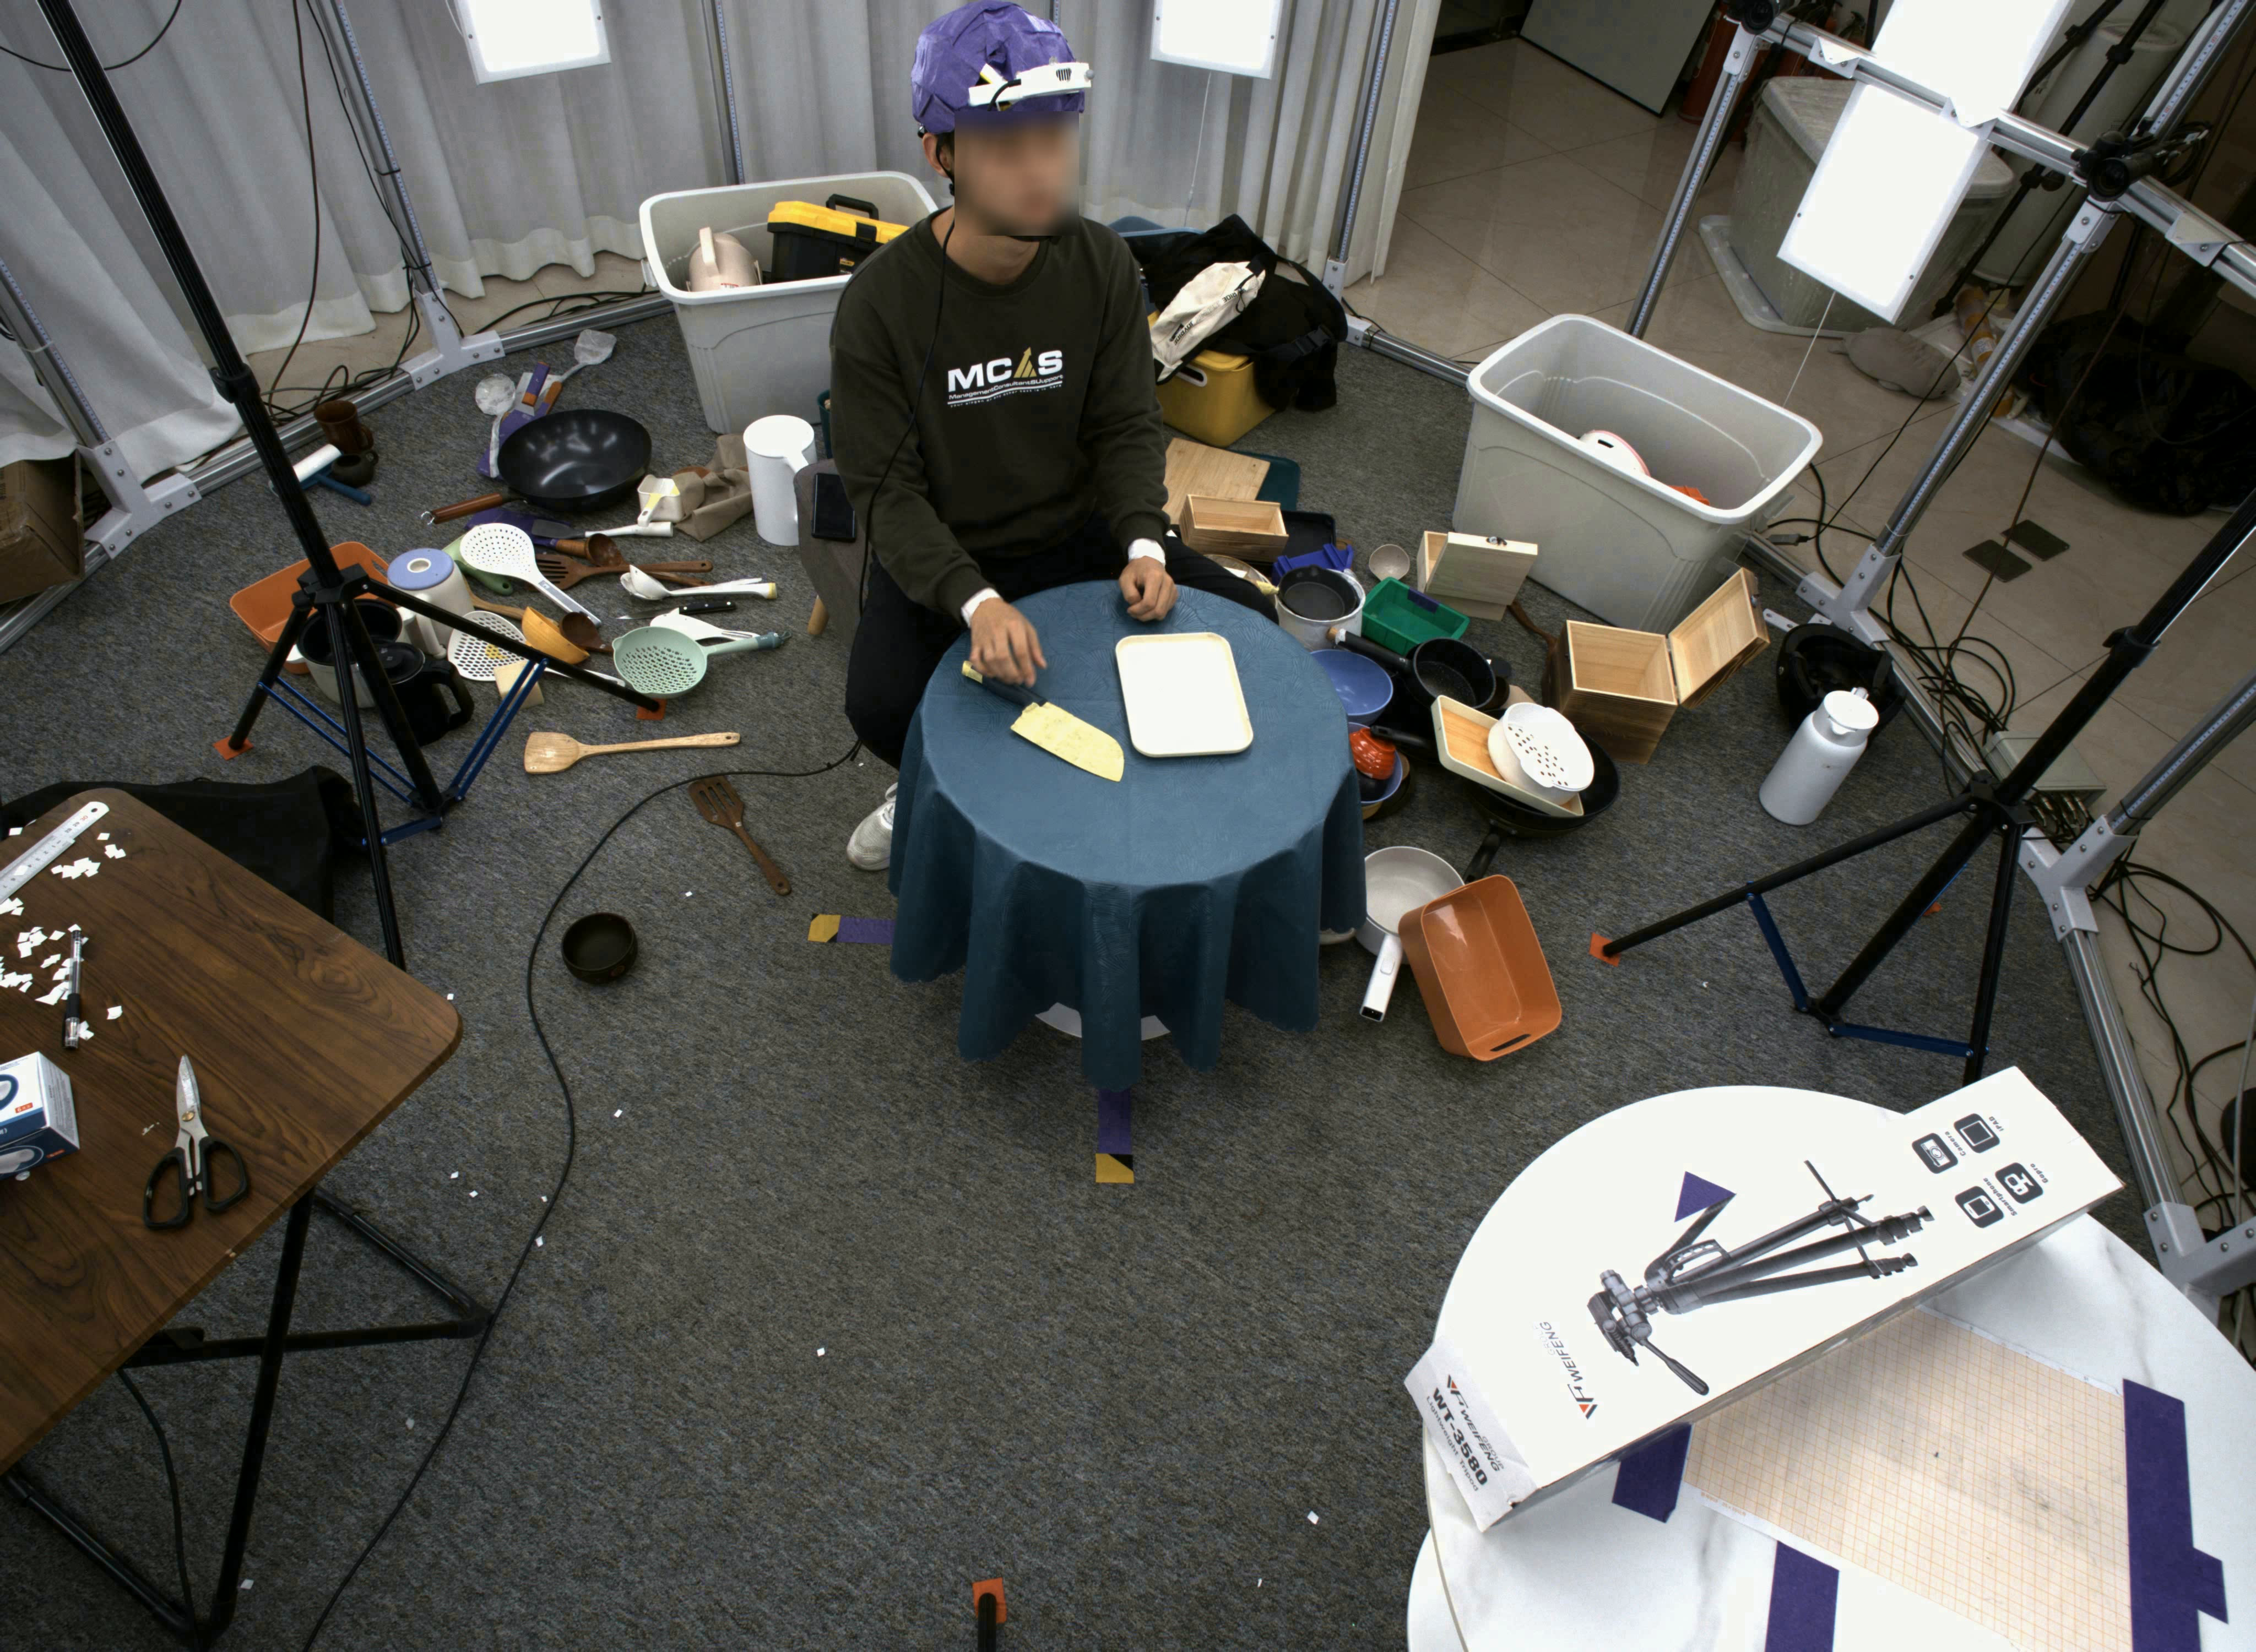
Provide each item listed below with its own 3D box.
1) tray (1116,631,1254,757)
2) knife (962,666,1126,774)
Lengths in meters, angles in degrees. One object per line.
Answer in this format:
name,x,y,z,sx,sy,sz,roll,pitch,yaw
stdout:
tray,0.077,-0.189,1.824,0.171,0.017,0.246,-4,49,-6
knife,-0.122,-0.146,1.777,0.292,0.026,0.082,31,53,20
